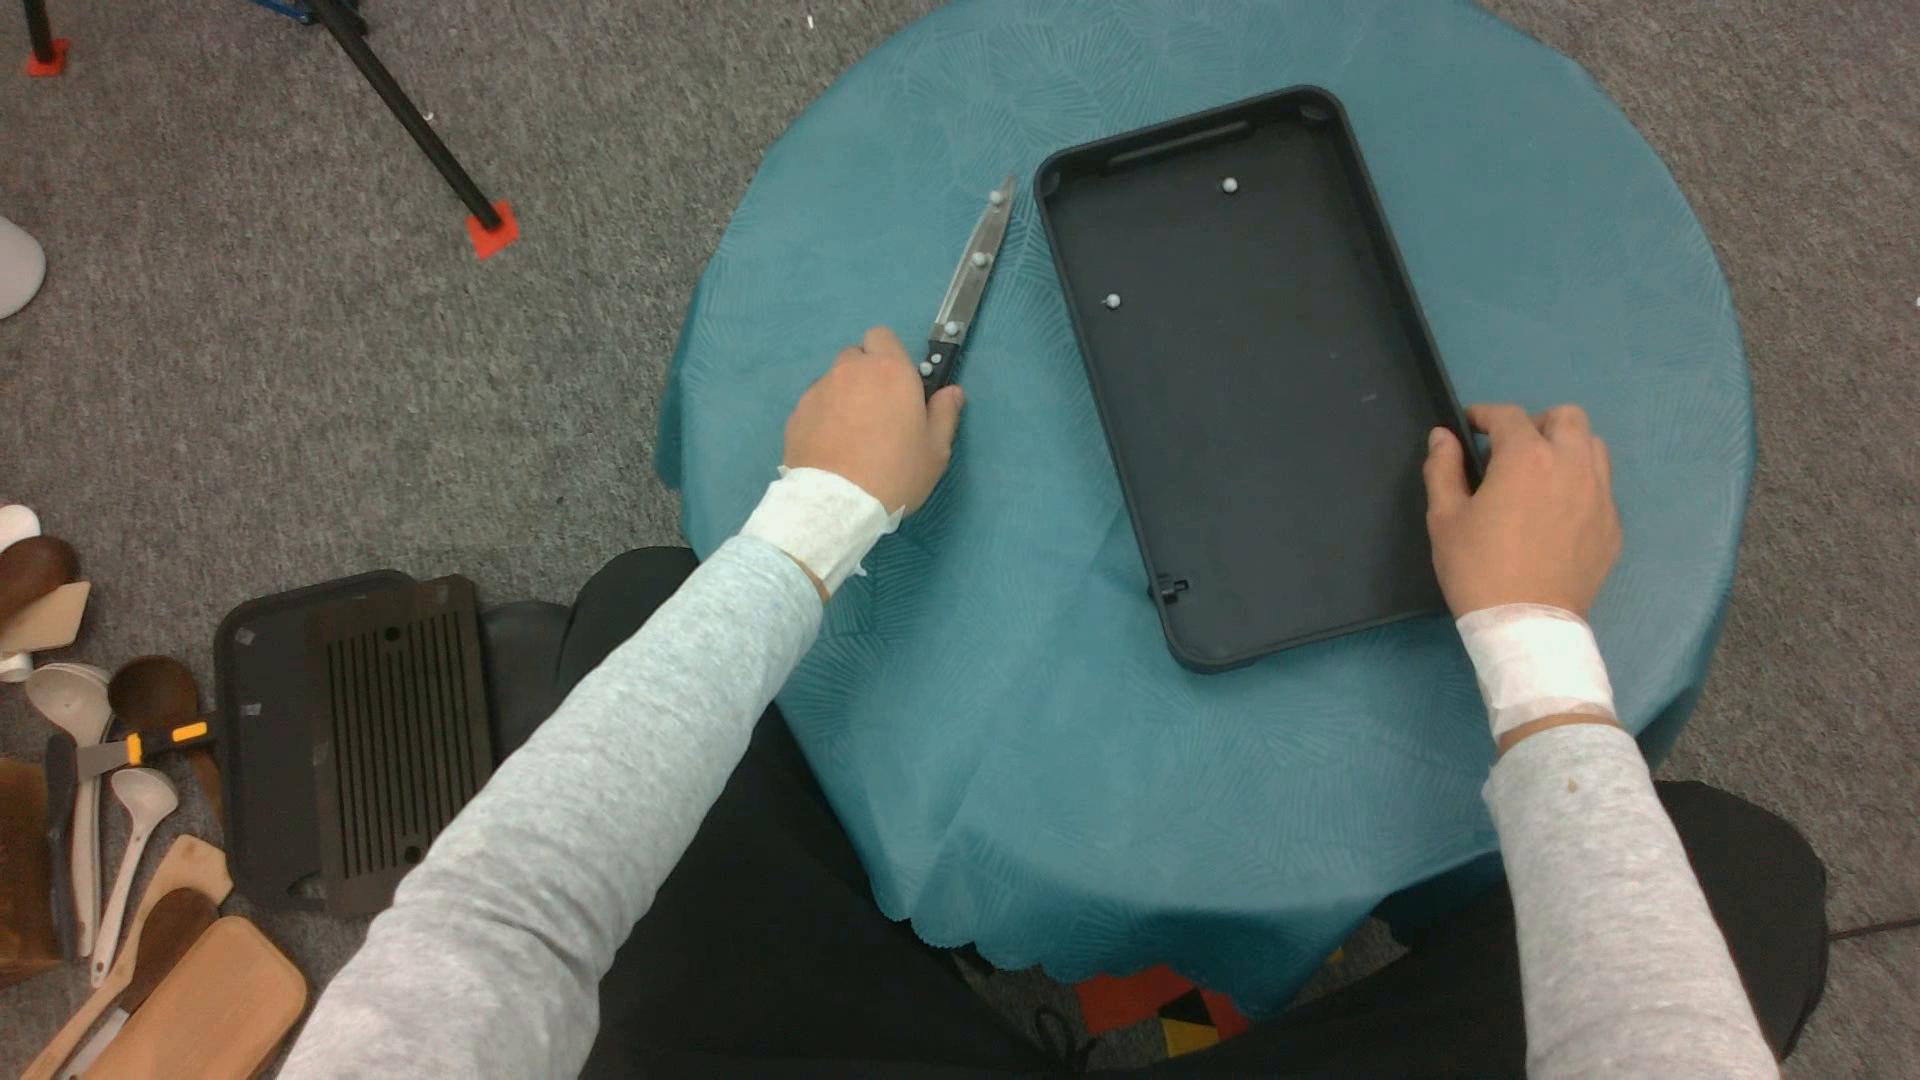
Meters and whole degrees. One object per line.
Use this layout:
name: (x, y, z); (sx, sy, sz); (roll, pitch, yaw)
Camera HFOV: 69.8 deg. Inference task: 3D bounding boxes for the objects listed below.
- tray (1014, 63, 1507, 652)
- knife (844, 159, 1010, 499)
tray: (0.157, -0.107, 0.764); (0.184, 0.037, 0.318); (-16, 72, 1)
knife: (-0.012, -0.127, 0.796); (0.024, 0.016, 0.239); (10, 67, 33)
